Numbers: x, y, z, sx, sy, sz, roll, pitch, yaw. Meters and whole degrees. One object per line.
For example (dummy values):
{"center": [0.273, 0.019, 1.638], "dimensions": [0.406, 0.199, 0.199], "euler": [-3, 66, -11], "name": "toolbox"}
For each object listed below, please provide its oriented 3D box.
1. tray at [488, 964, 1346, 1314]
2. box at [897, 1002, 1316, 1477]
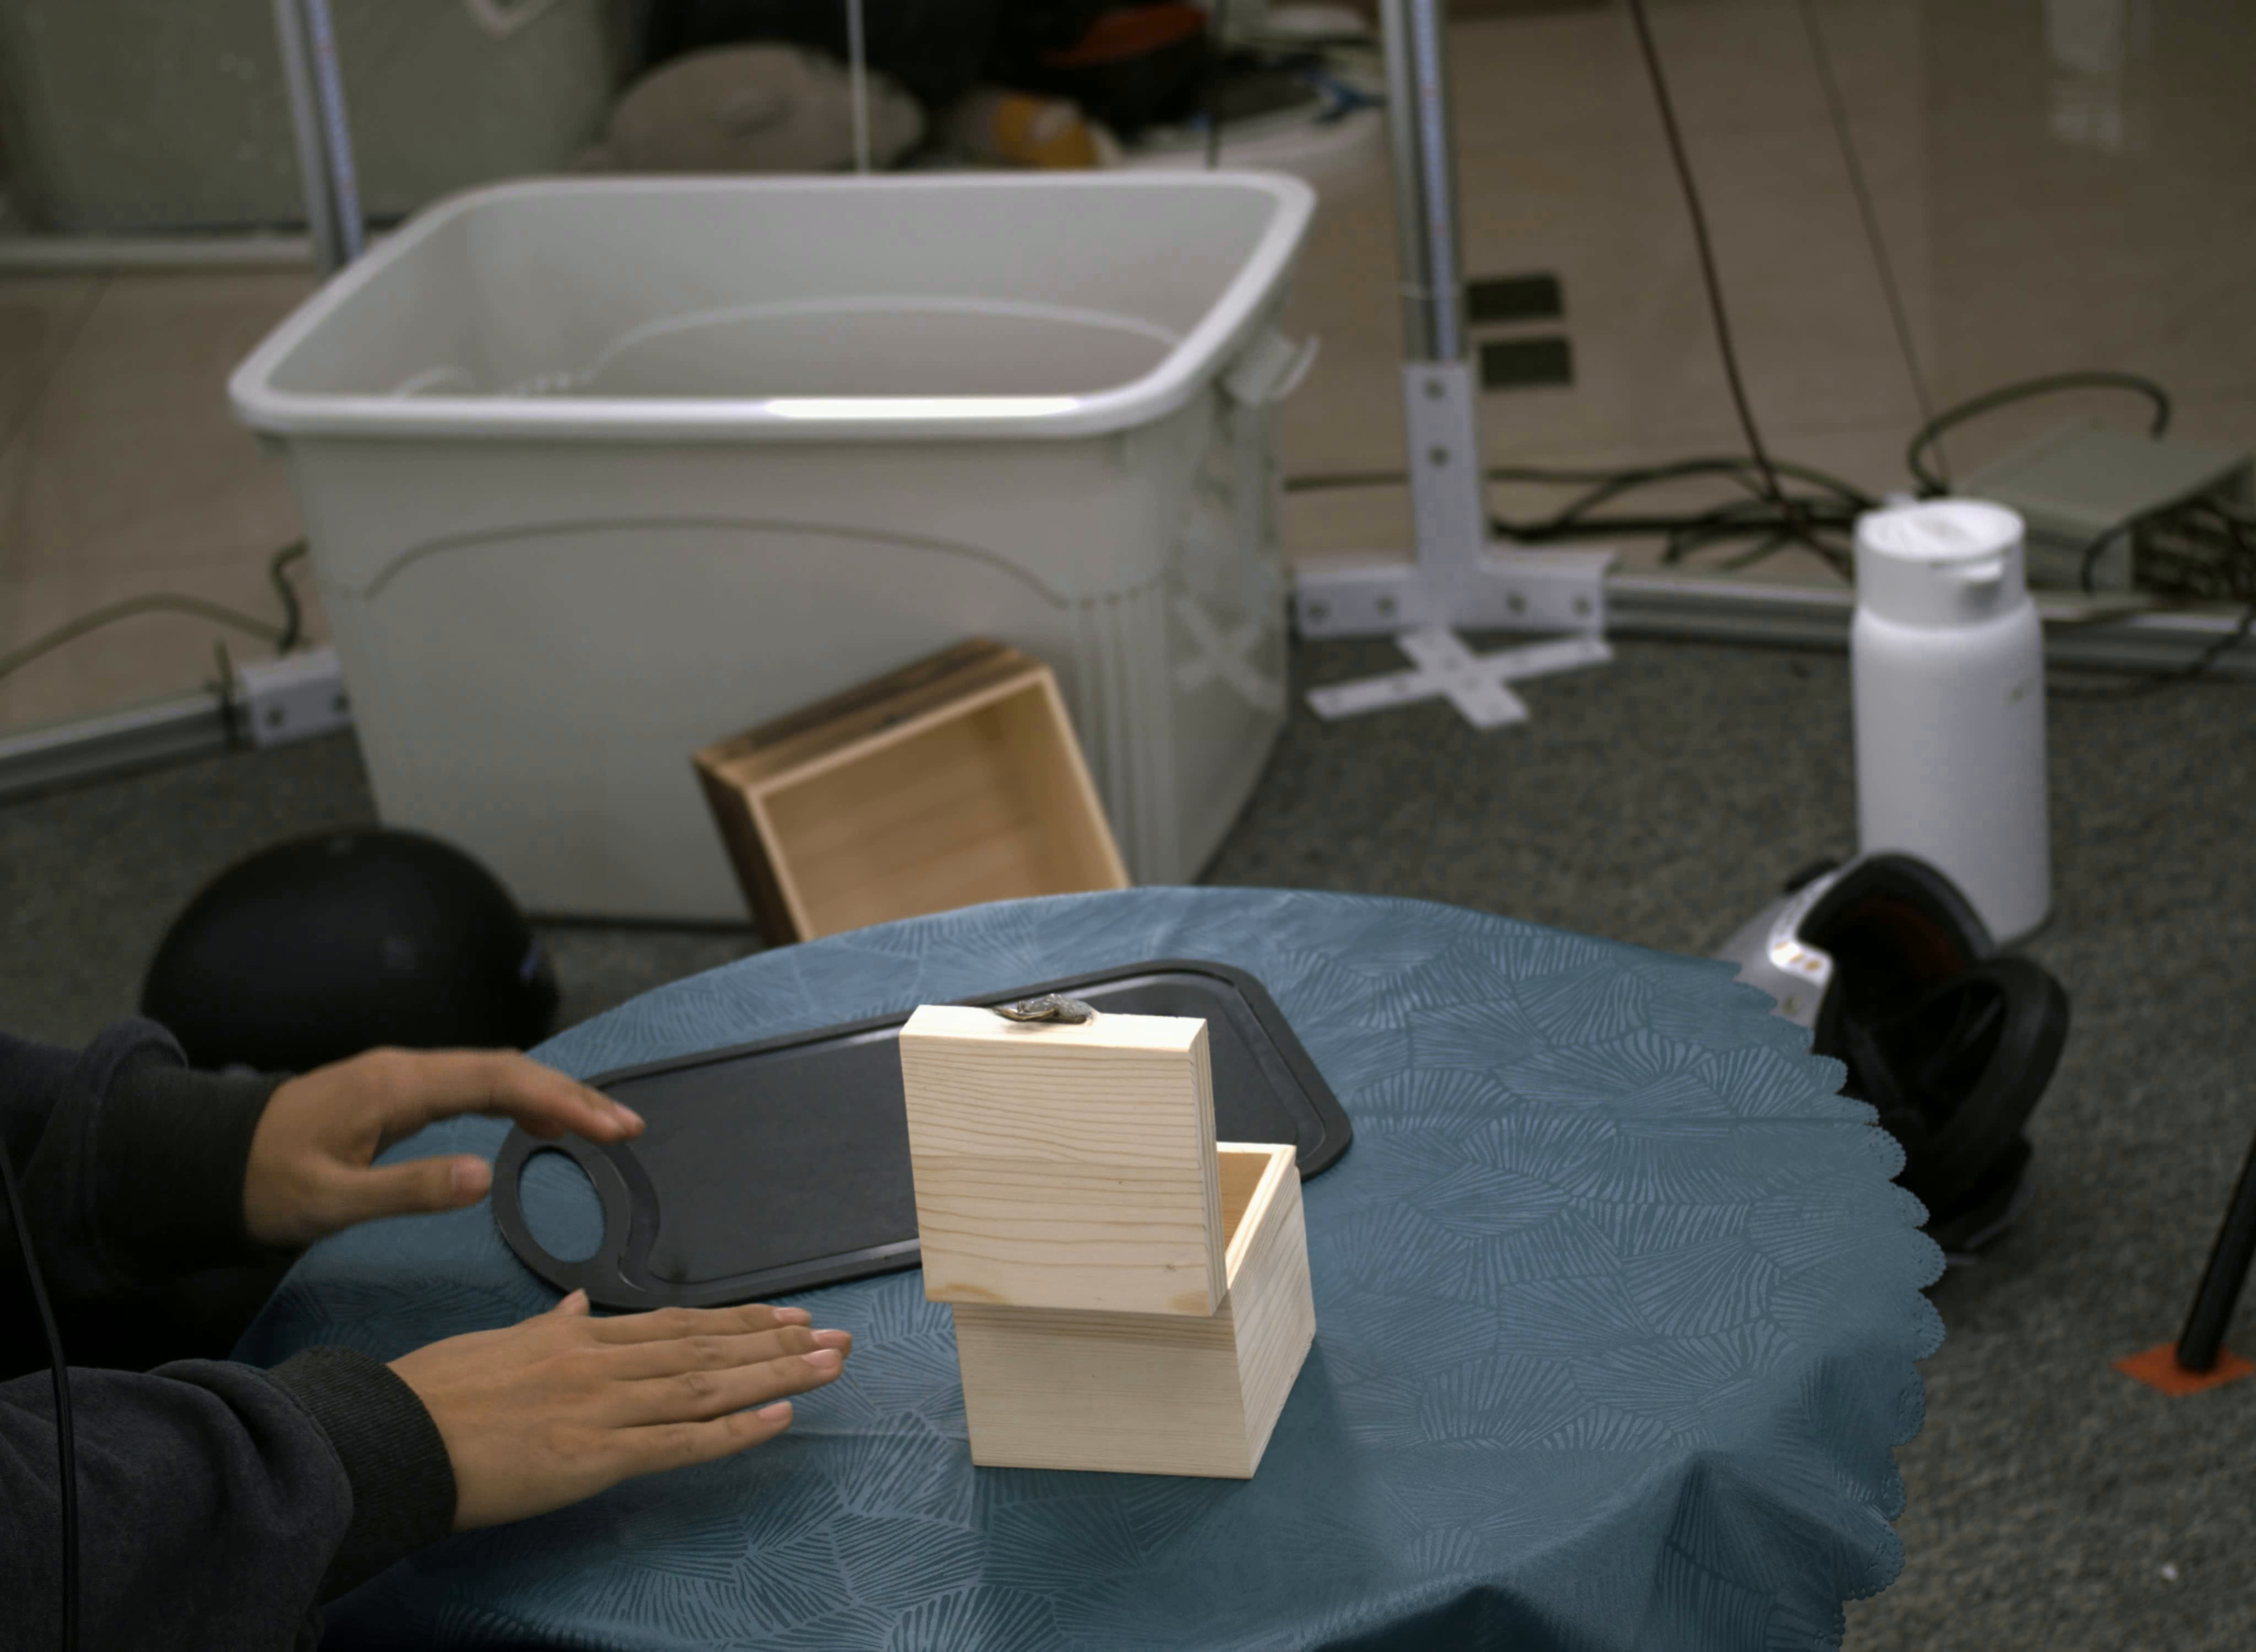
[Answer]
{"center": [-0.087, 0.119, 2.203], "dimensions": [0.324, 0.010, 0.208], "euler": [-11, 25, -10], "name": "tray"}
{"center": [-0.004, 0.123, 1.958], "dimensions": [0.102, 0.187, 0.132], "euler": [2, 28, 15], "name": "box"}
